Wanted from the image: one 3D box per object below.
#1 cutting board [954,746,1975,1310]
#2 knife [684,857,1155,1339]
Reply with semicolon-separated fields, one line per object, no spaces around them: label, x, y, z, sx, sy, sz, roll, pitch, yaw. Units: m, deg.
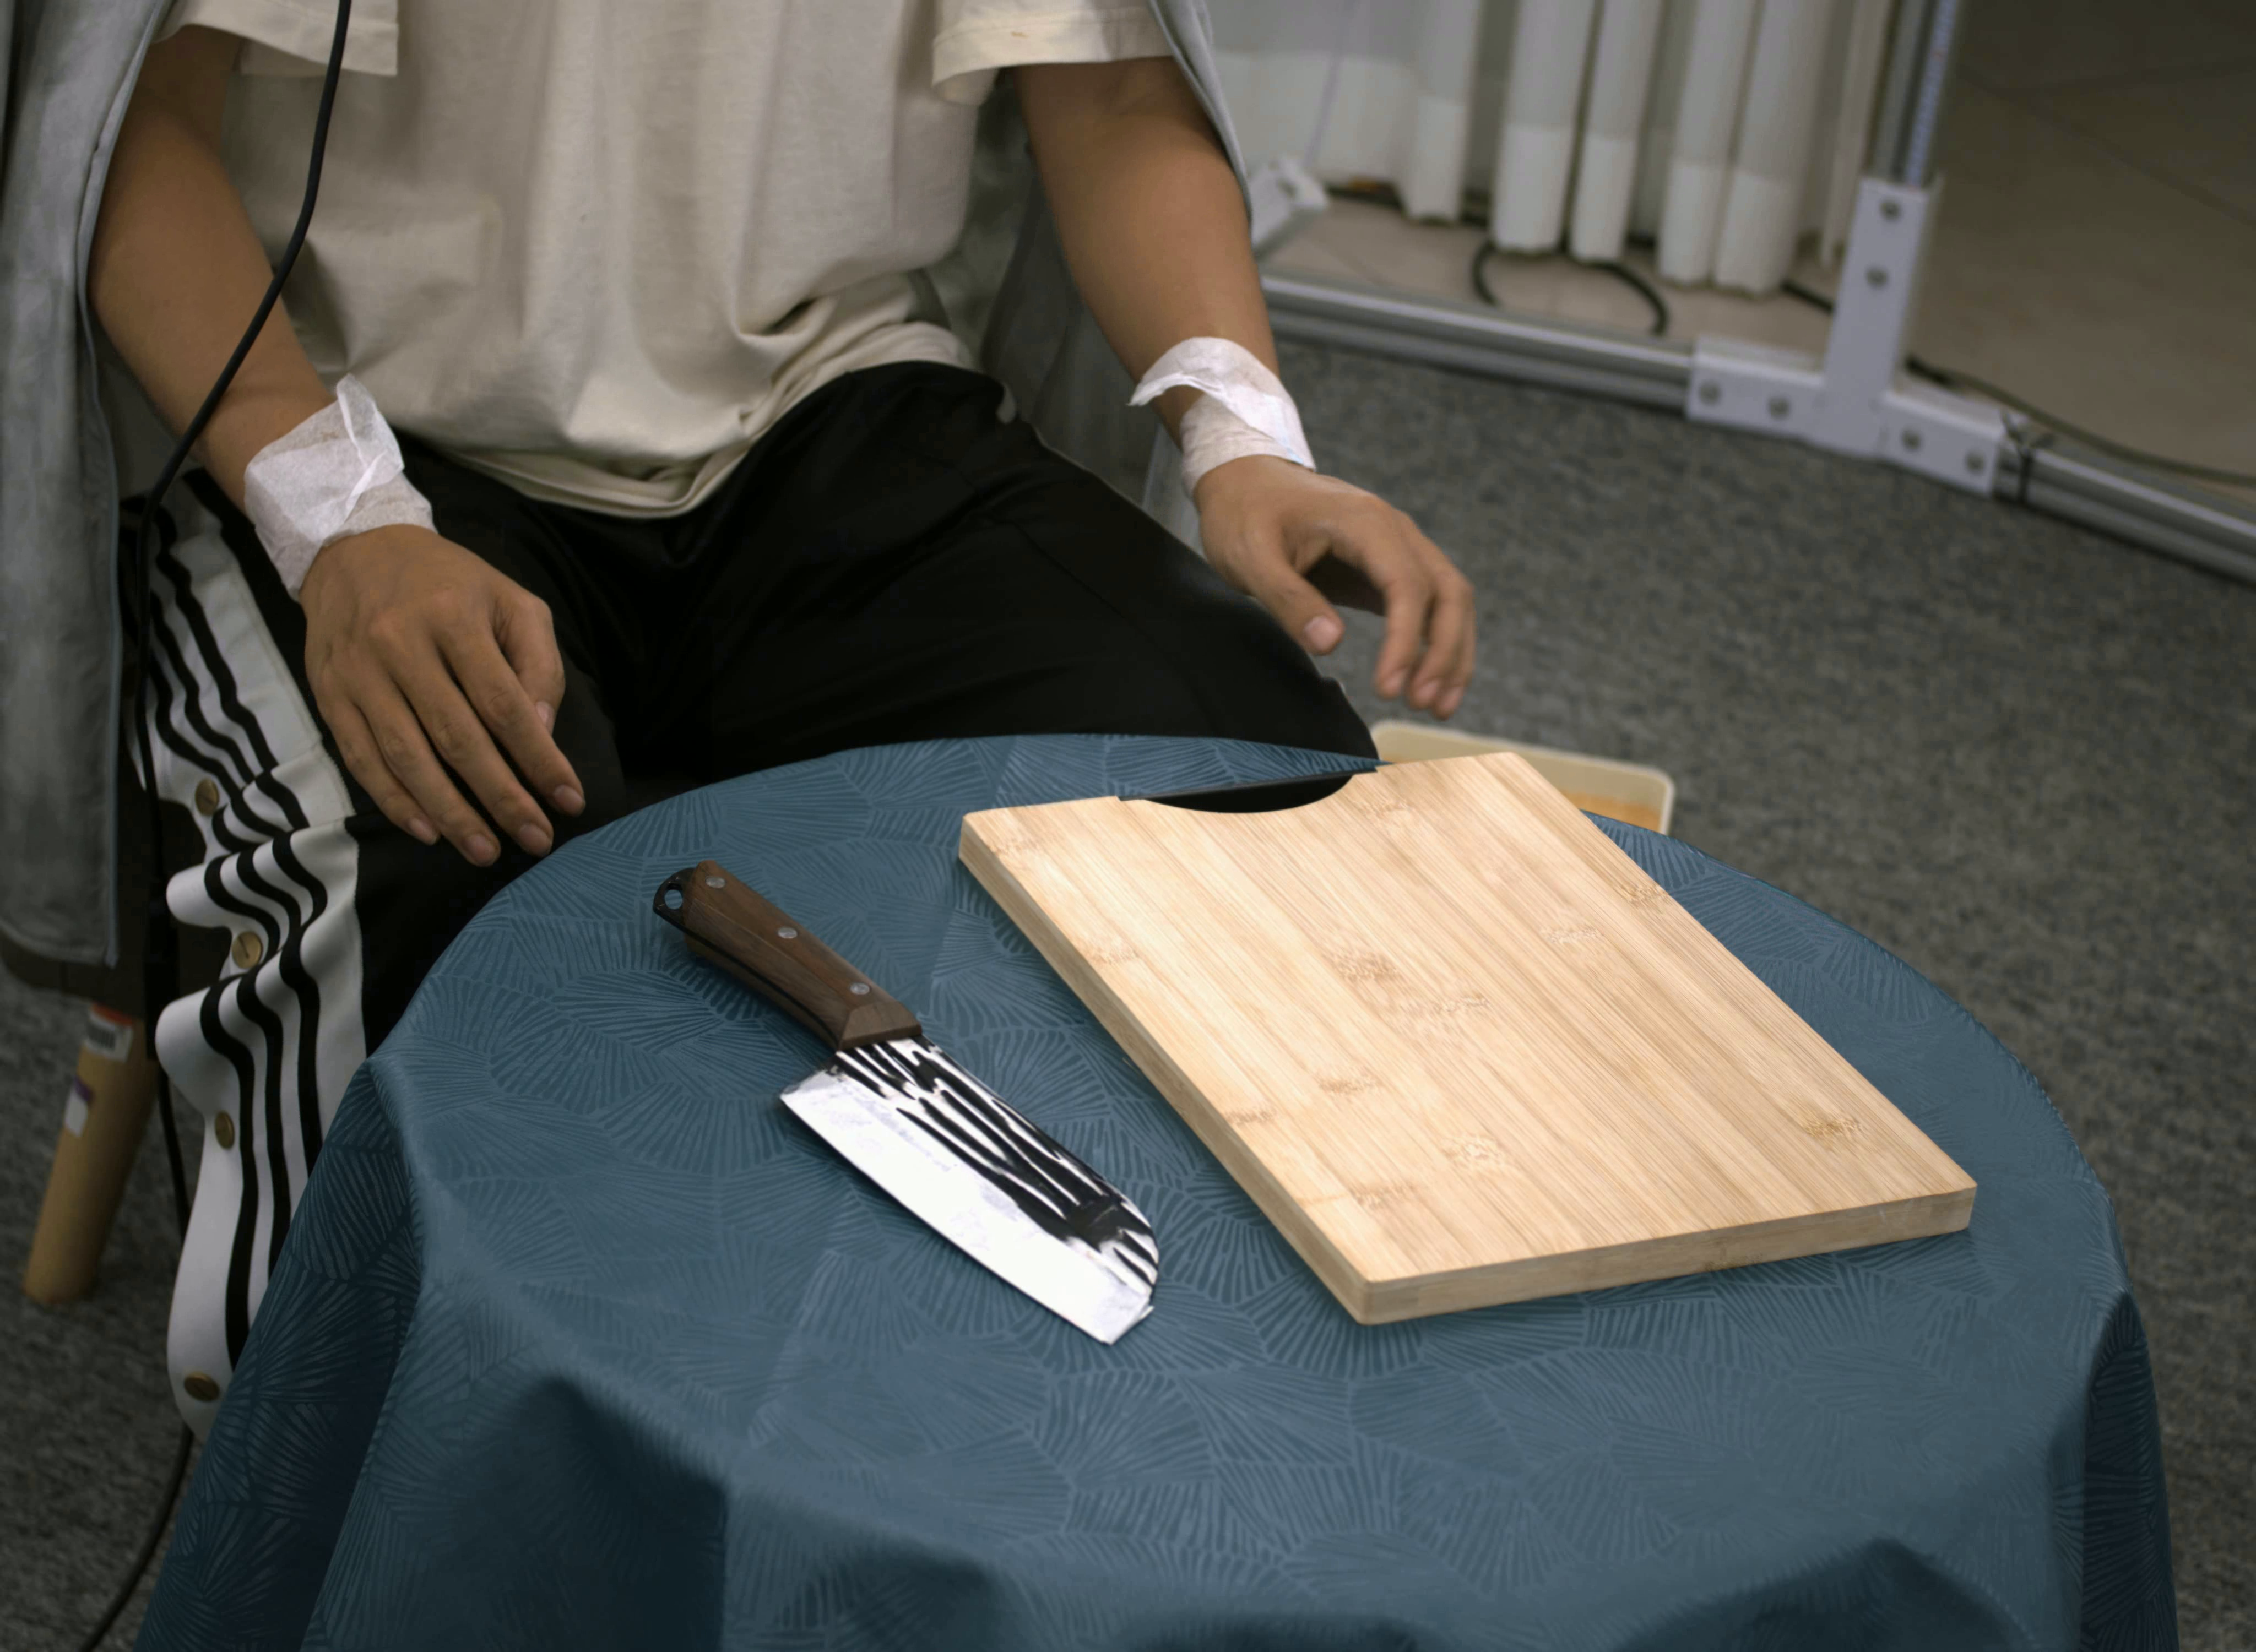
cutting board;0.113;0.066;1.926;0.249;0.023;0.352;-7;30;-25
knife;-0.081;0.092;1.827;0.068;0.024;0.302;-16;37;-34
